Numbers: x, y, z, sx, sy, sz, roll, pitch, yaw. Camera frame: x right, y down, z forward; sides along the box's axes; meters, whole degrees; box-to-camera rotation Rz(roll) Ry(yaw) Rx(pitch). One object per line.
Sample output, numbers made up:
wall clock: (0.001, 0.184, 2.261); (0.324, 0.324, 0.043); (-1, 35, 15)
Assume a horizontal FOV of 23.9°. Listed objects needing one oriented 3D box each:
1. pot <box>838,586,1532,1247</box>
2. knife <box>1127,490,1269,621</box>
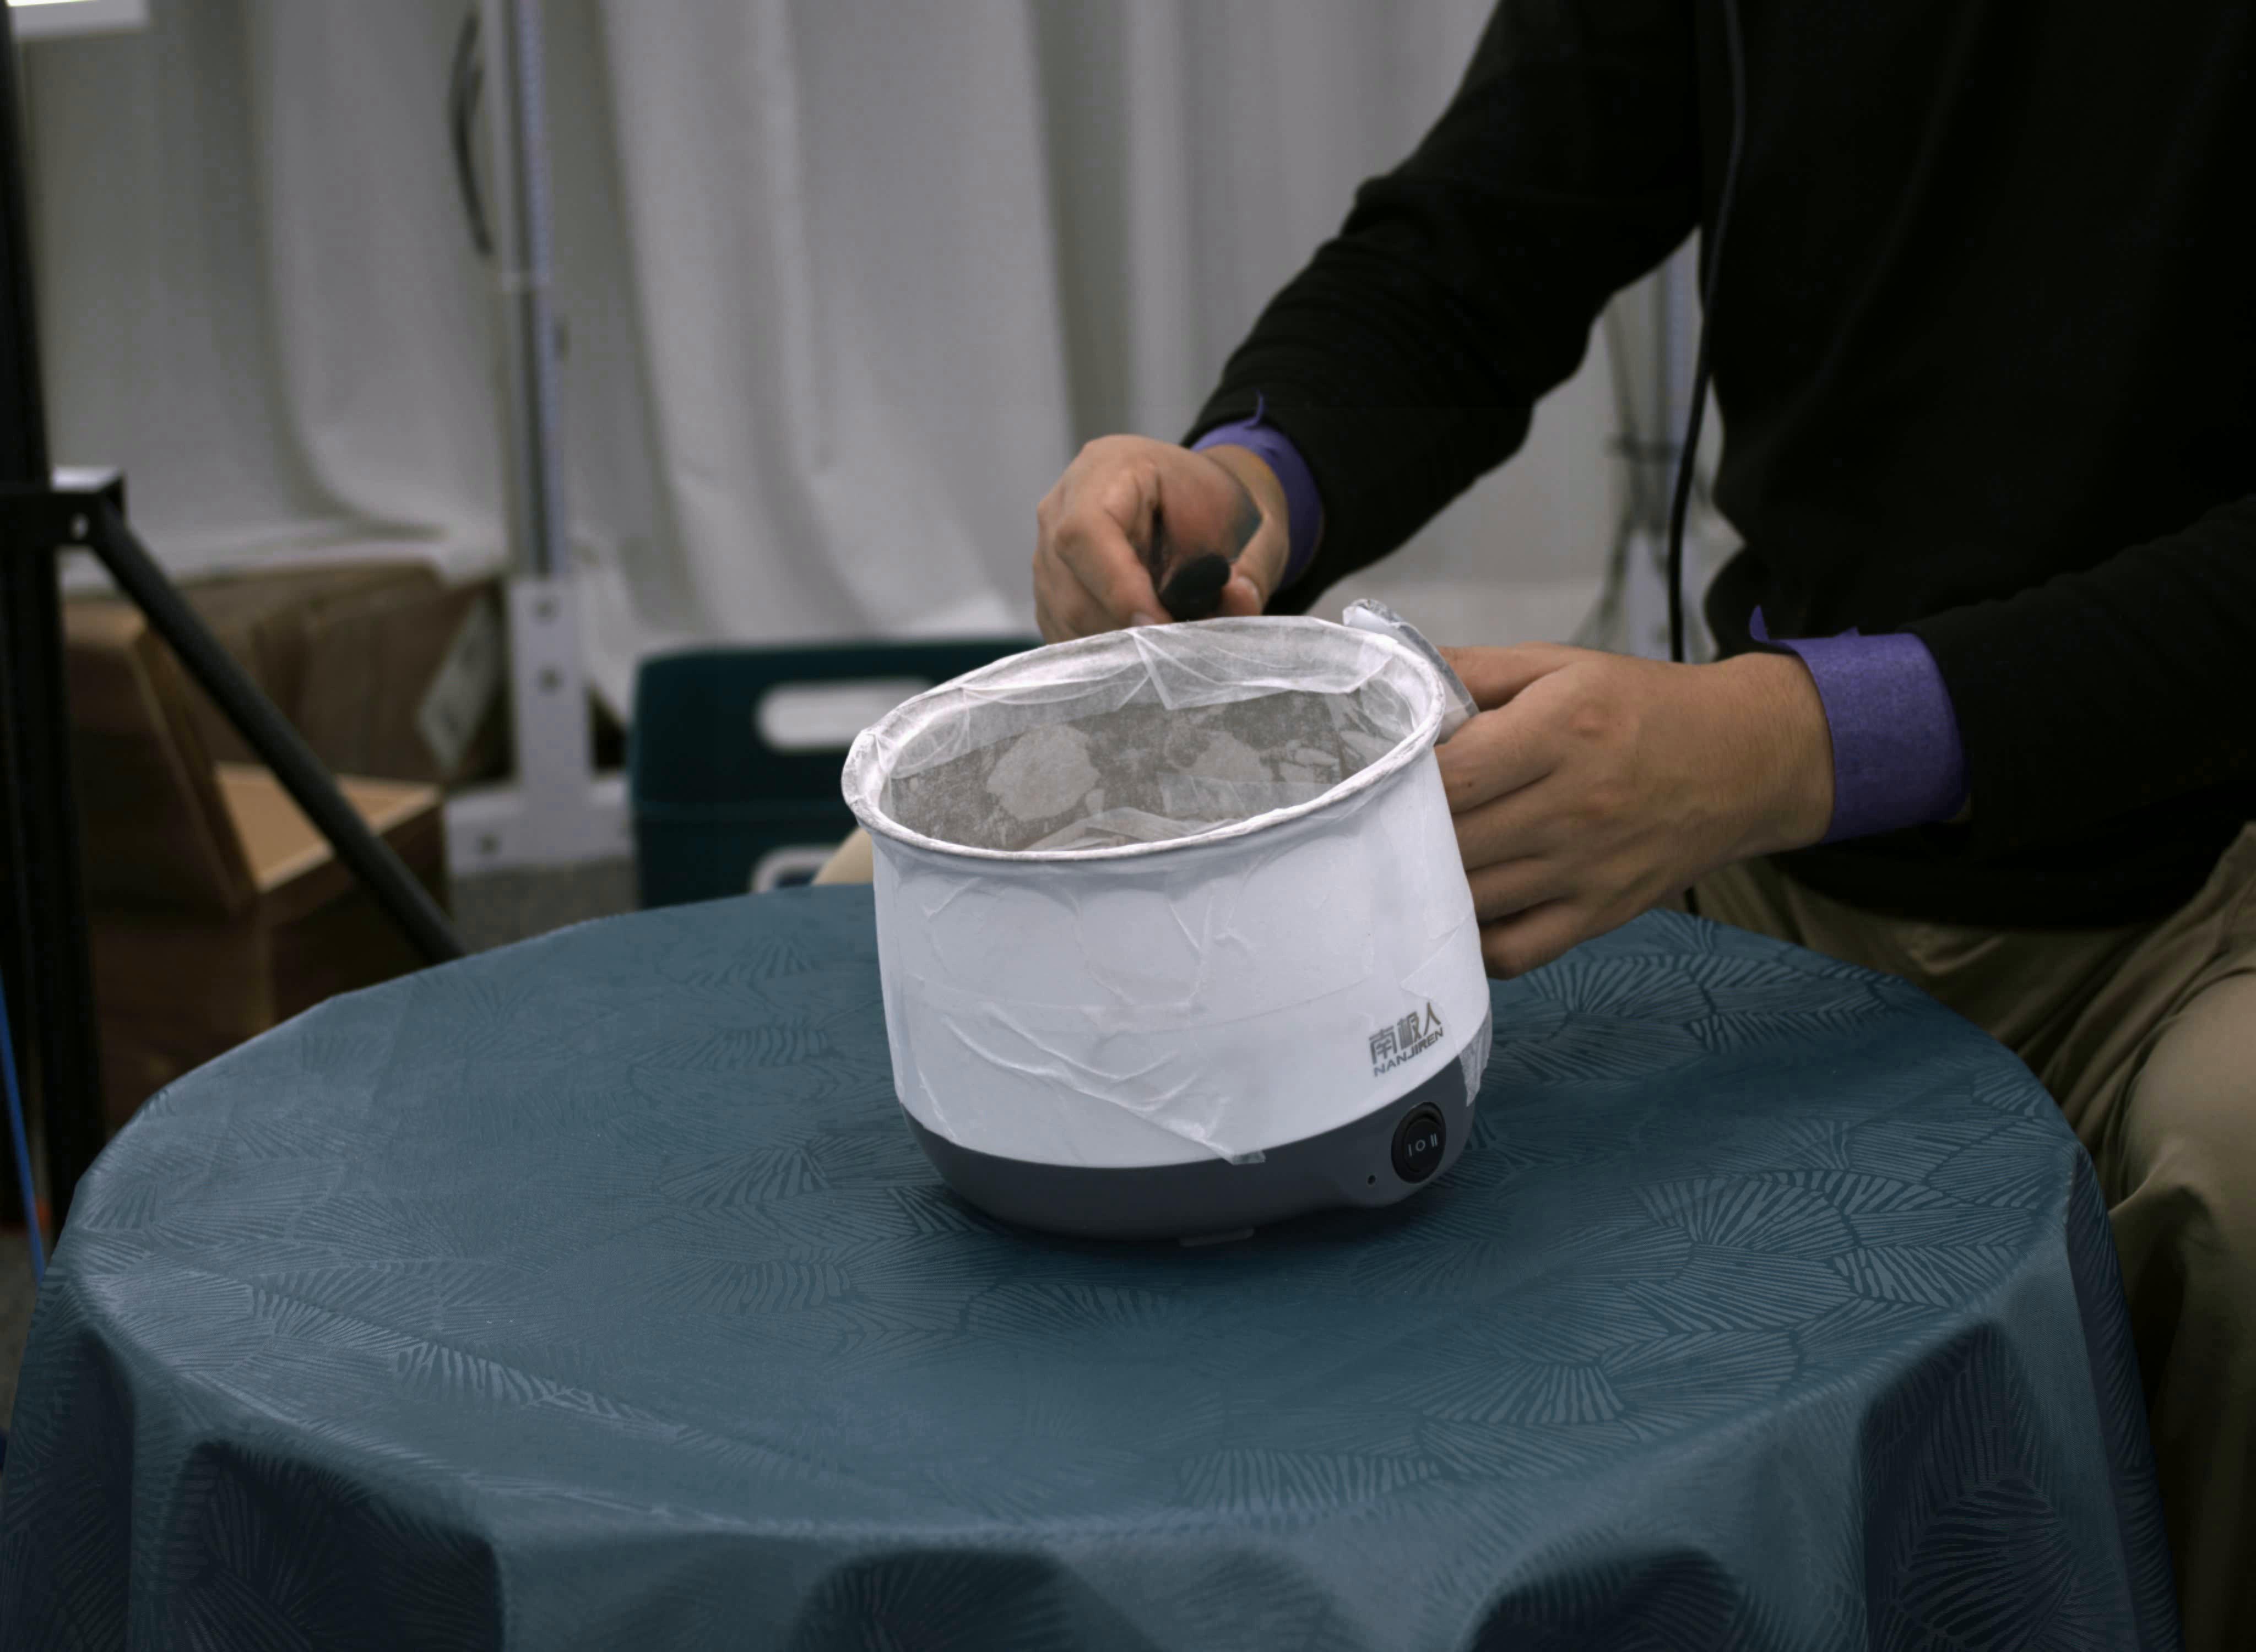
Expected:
pot: (0.031, 0.019, 1.564); (0.183, 0.136, 0.229); (13, 32, 42)
knife: (0.021, -0.080, 1.645); (0.024, 0.016, 0.238); (-15, -5, -8)
